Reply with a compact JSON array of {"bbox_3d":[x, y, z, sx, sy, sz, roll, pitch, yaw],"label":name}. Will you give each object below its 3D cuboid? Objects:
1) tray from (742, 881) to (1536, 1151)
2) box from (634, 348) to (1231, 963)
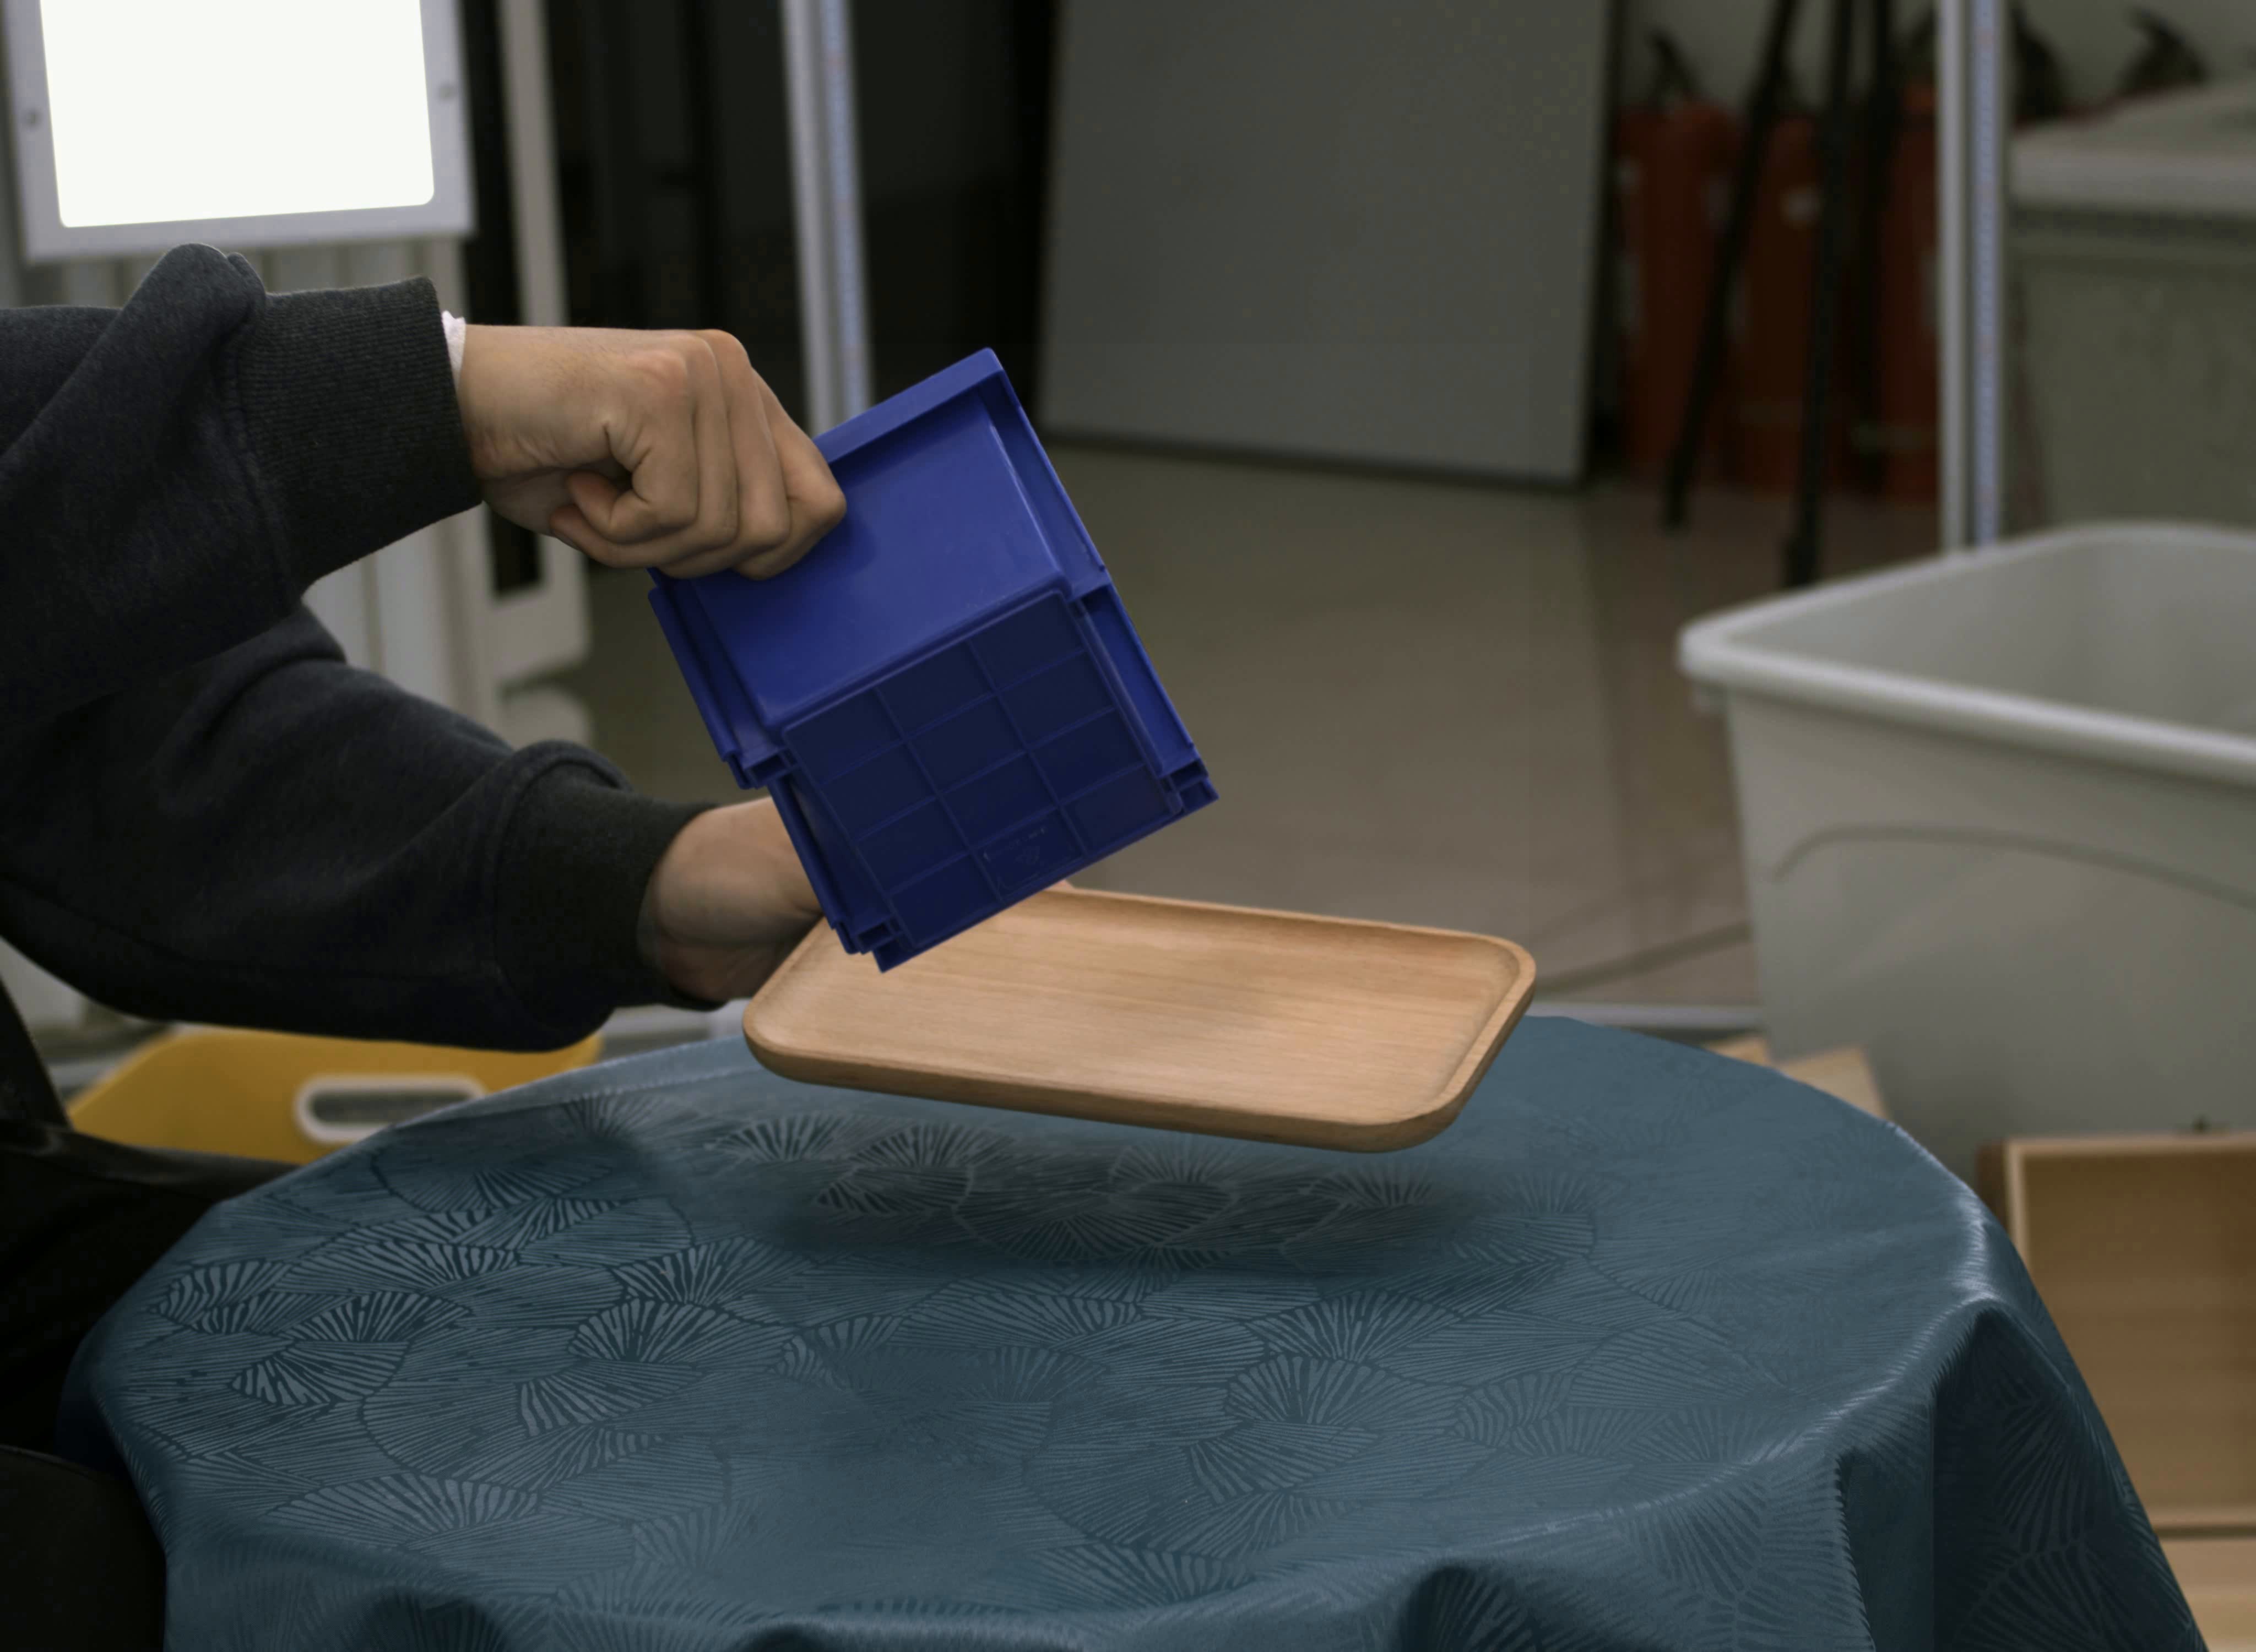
[{"bbox_3d":[0.004,0.059,1.752,0.251,0.023,0.129,5,26,24],"label":"tray"},{"bbox_3d":[-0.054,-0.040,1.622,0.124,0.083,0.178,-29,-31,3],"label":"box"}]
